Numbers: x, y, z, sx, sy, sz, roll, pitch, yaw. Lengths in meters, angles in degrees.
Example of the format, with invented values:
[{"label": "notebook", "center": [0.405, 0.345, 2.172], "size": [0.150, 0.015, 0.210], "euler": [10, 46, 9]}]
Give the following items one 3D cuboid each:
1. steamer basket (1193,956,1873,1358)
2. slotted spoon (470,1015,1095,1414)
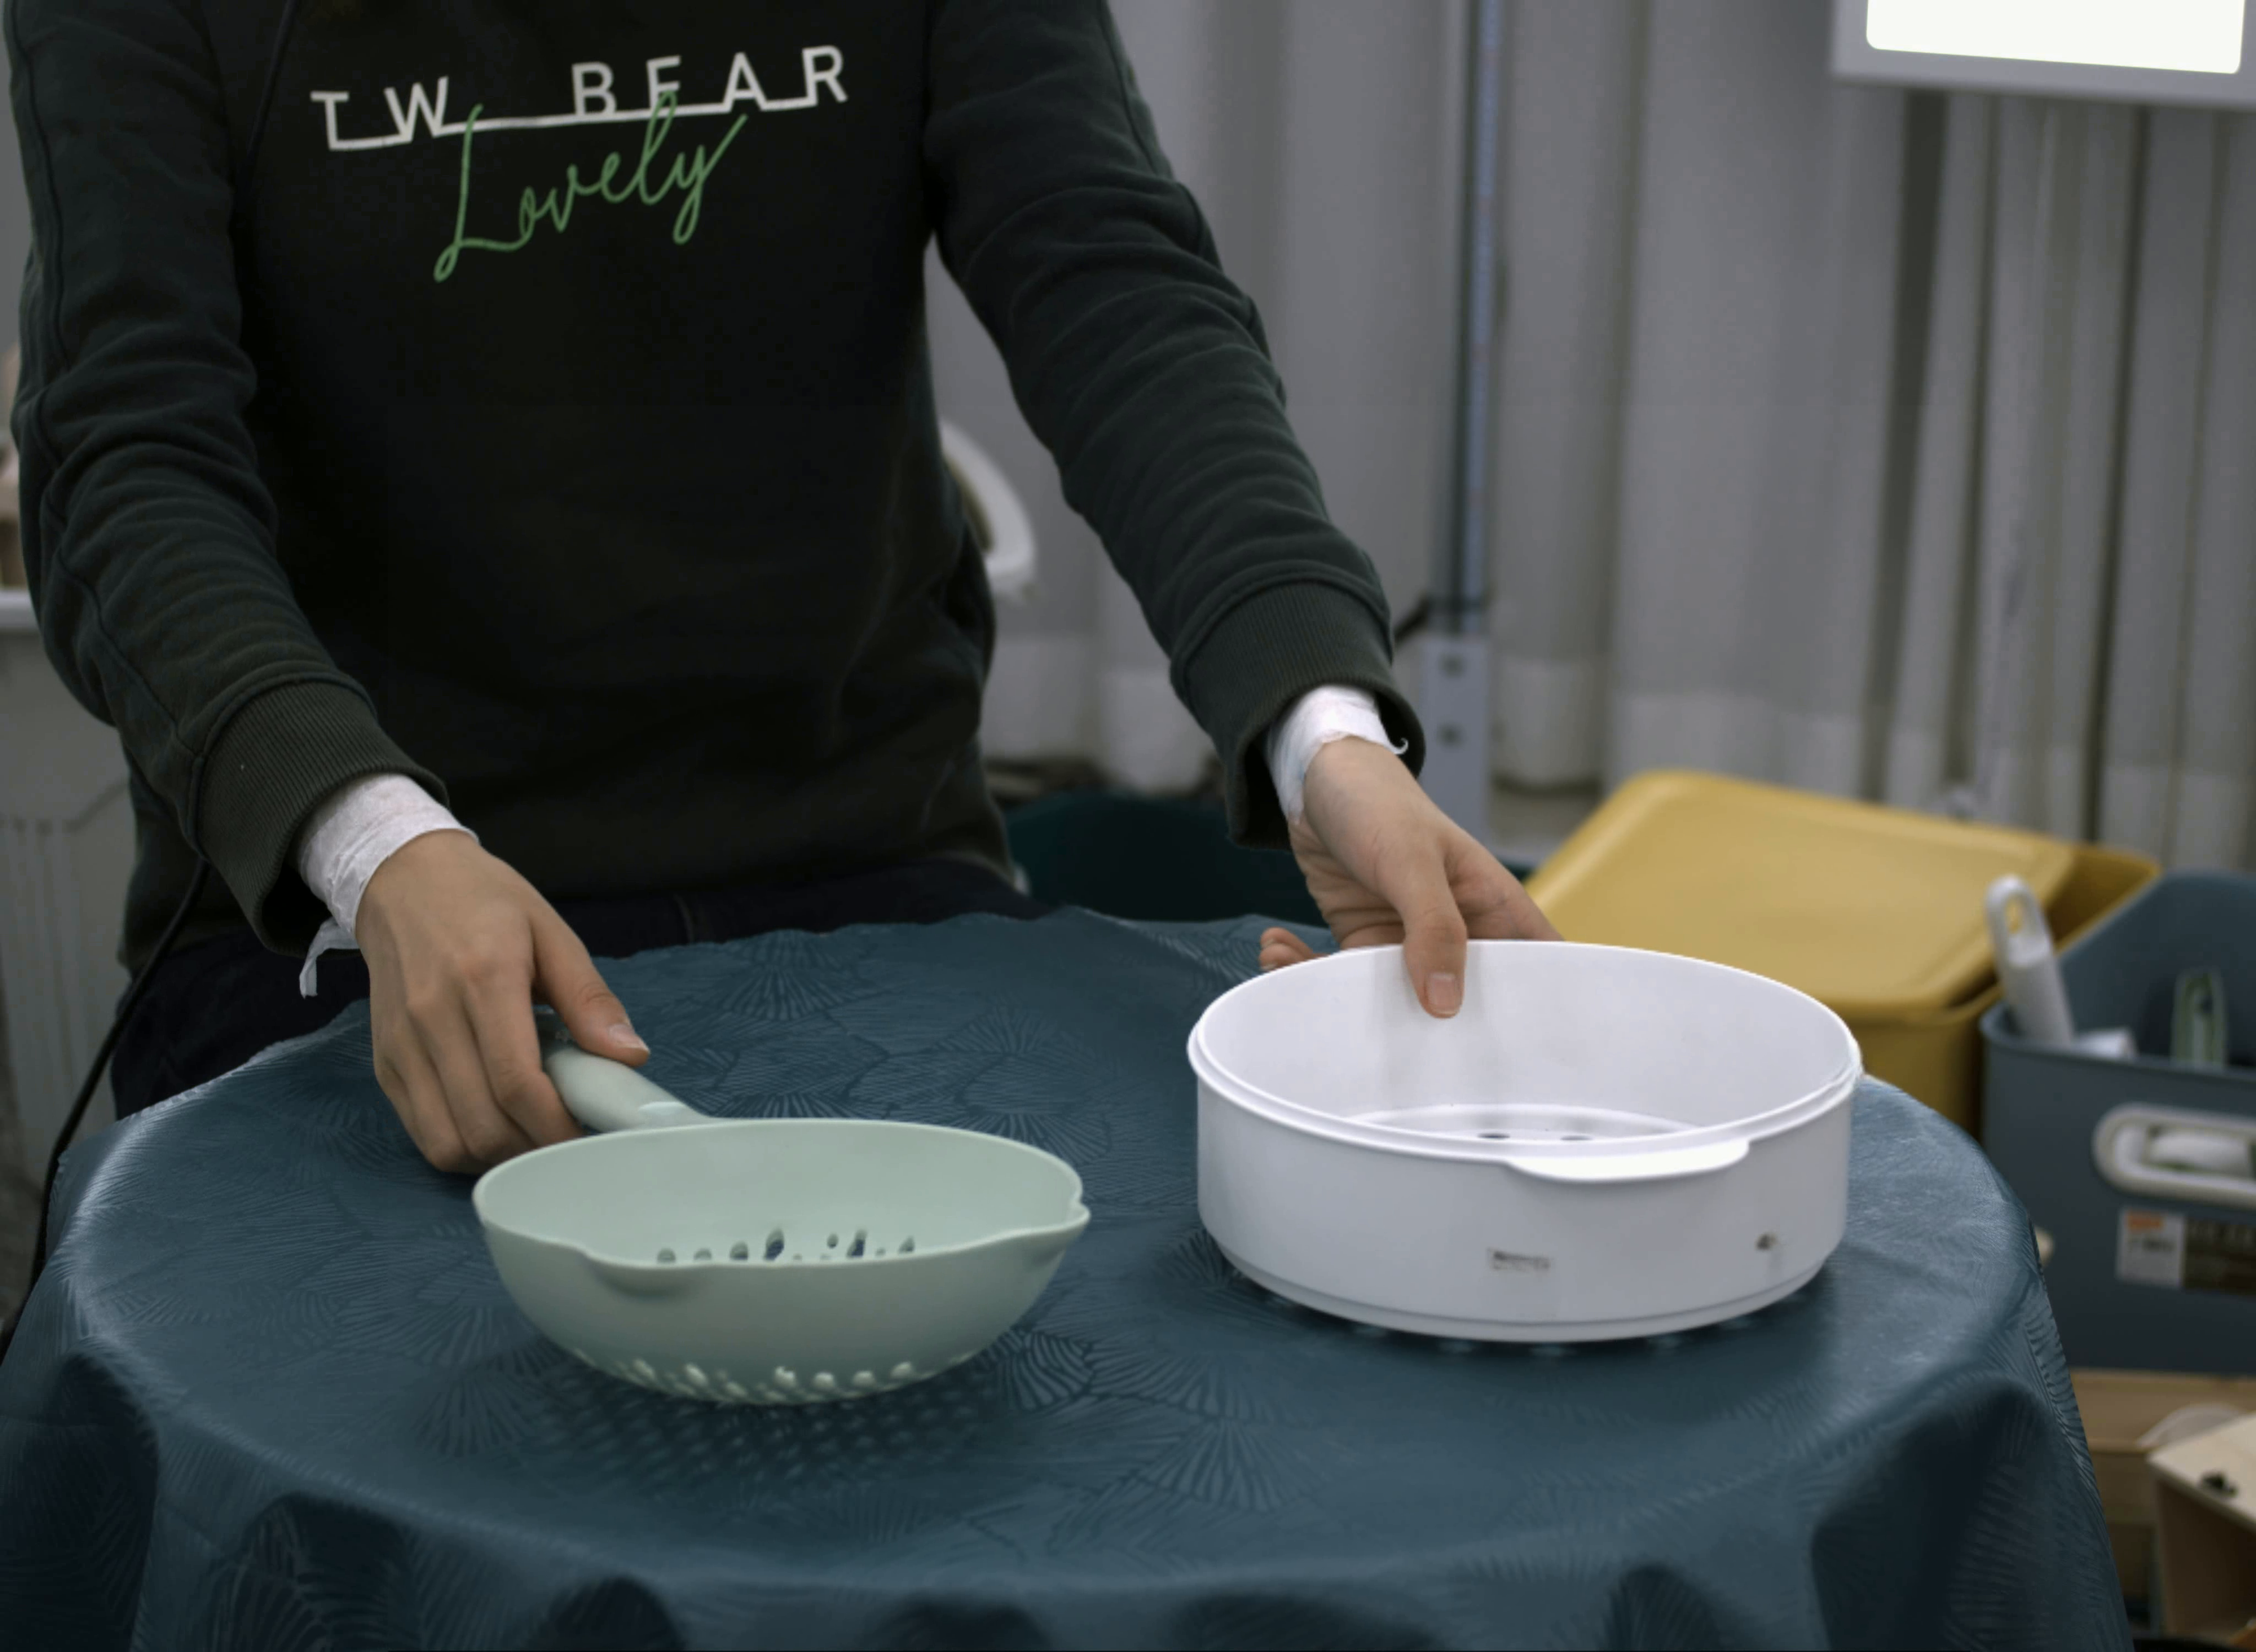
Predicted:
[{"label": "steamer basket", "center": [0.119, 0.098, 1.568], "size": [0.202, 0.070, 0.228], "euler": [-3, 16, -15]}, {"label": "slotted spoon", "center": [-0.132, 0.097, 1.544], "size": [0.170, 0.076, 0.354], "euler": [-3, 19, -22]}]
